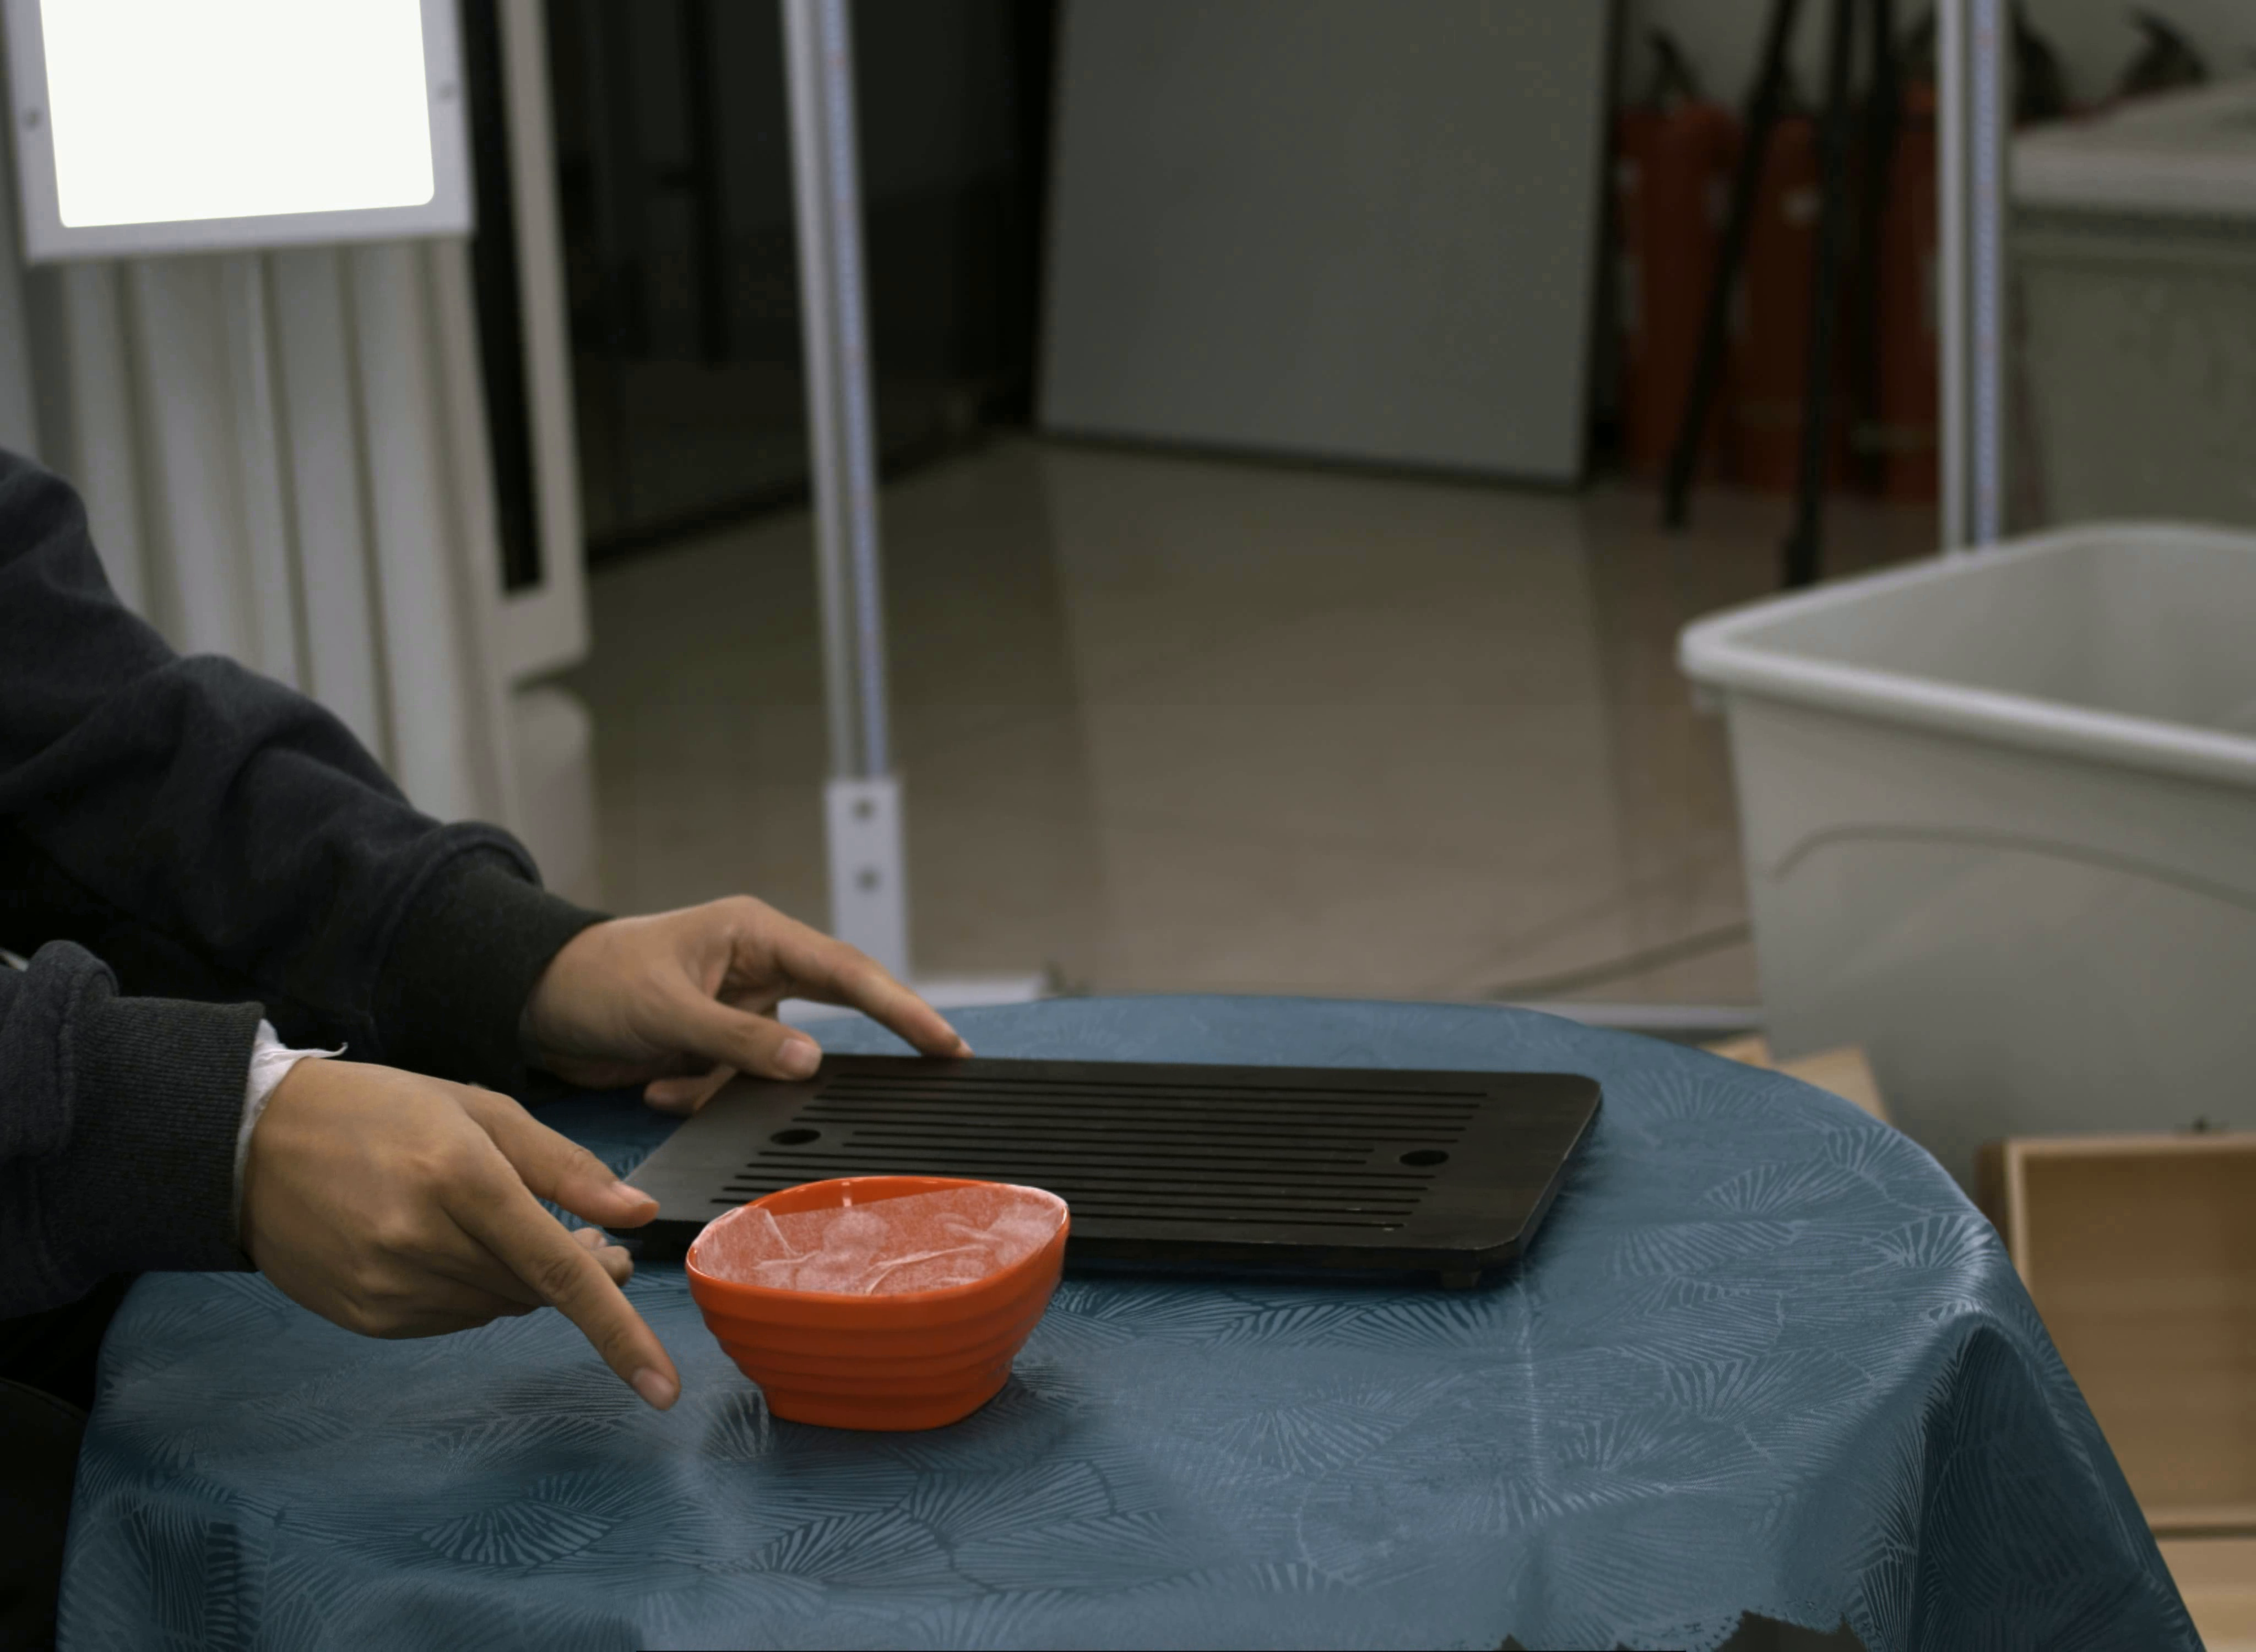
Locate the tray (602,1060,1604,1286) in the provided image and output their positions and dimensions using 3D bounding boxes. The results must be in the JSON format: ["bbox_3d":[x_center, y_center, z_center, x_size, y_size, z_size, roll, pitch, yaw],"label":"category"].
[{"bbox_3d":[-0.005,0.112,1.762,0.305,0.019,0.169,0,16,17],"label":"tray"}]

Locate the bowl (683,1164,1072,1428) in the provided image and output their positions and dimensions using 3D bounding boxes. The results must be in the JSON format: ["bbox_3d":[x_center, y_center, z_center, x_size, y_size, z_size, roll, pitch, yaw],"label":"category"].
[{"bbox_3d":[-0.072,0.141,1.591,0.117,0.052,0.119,-3,15,0],"label":"bowl"}]
